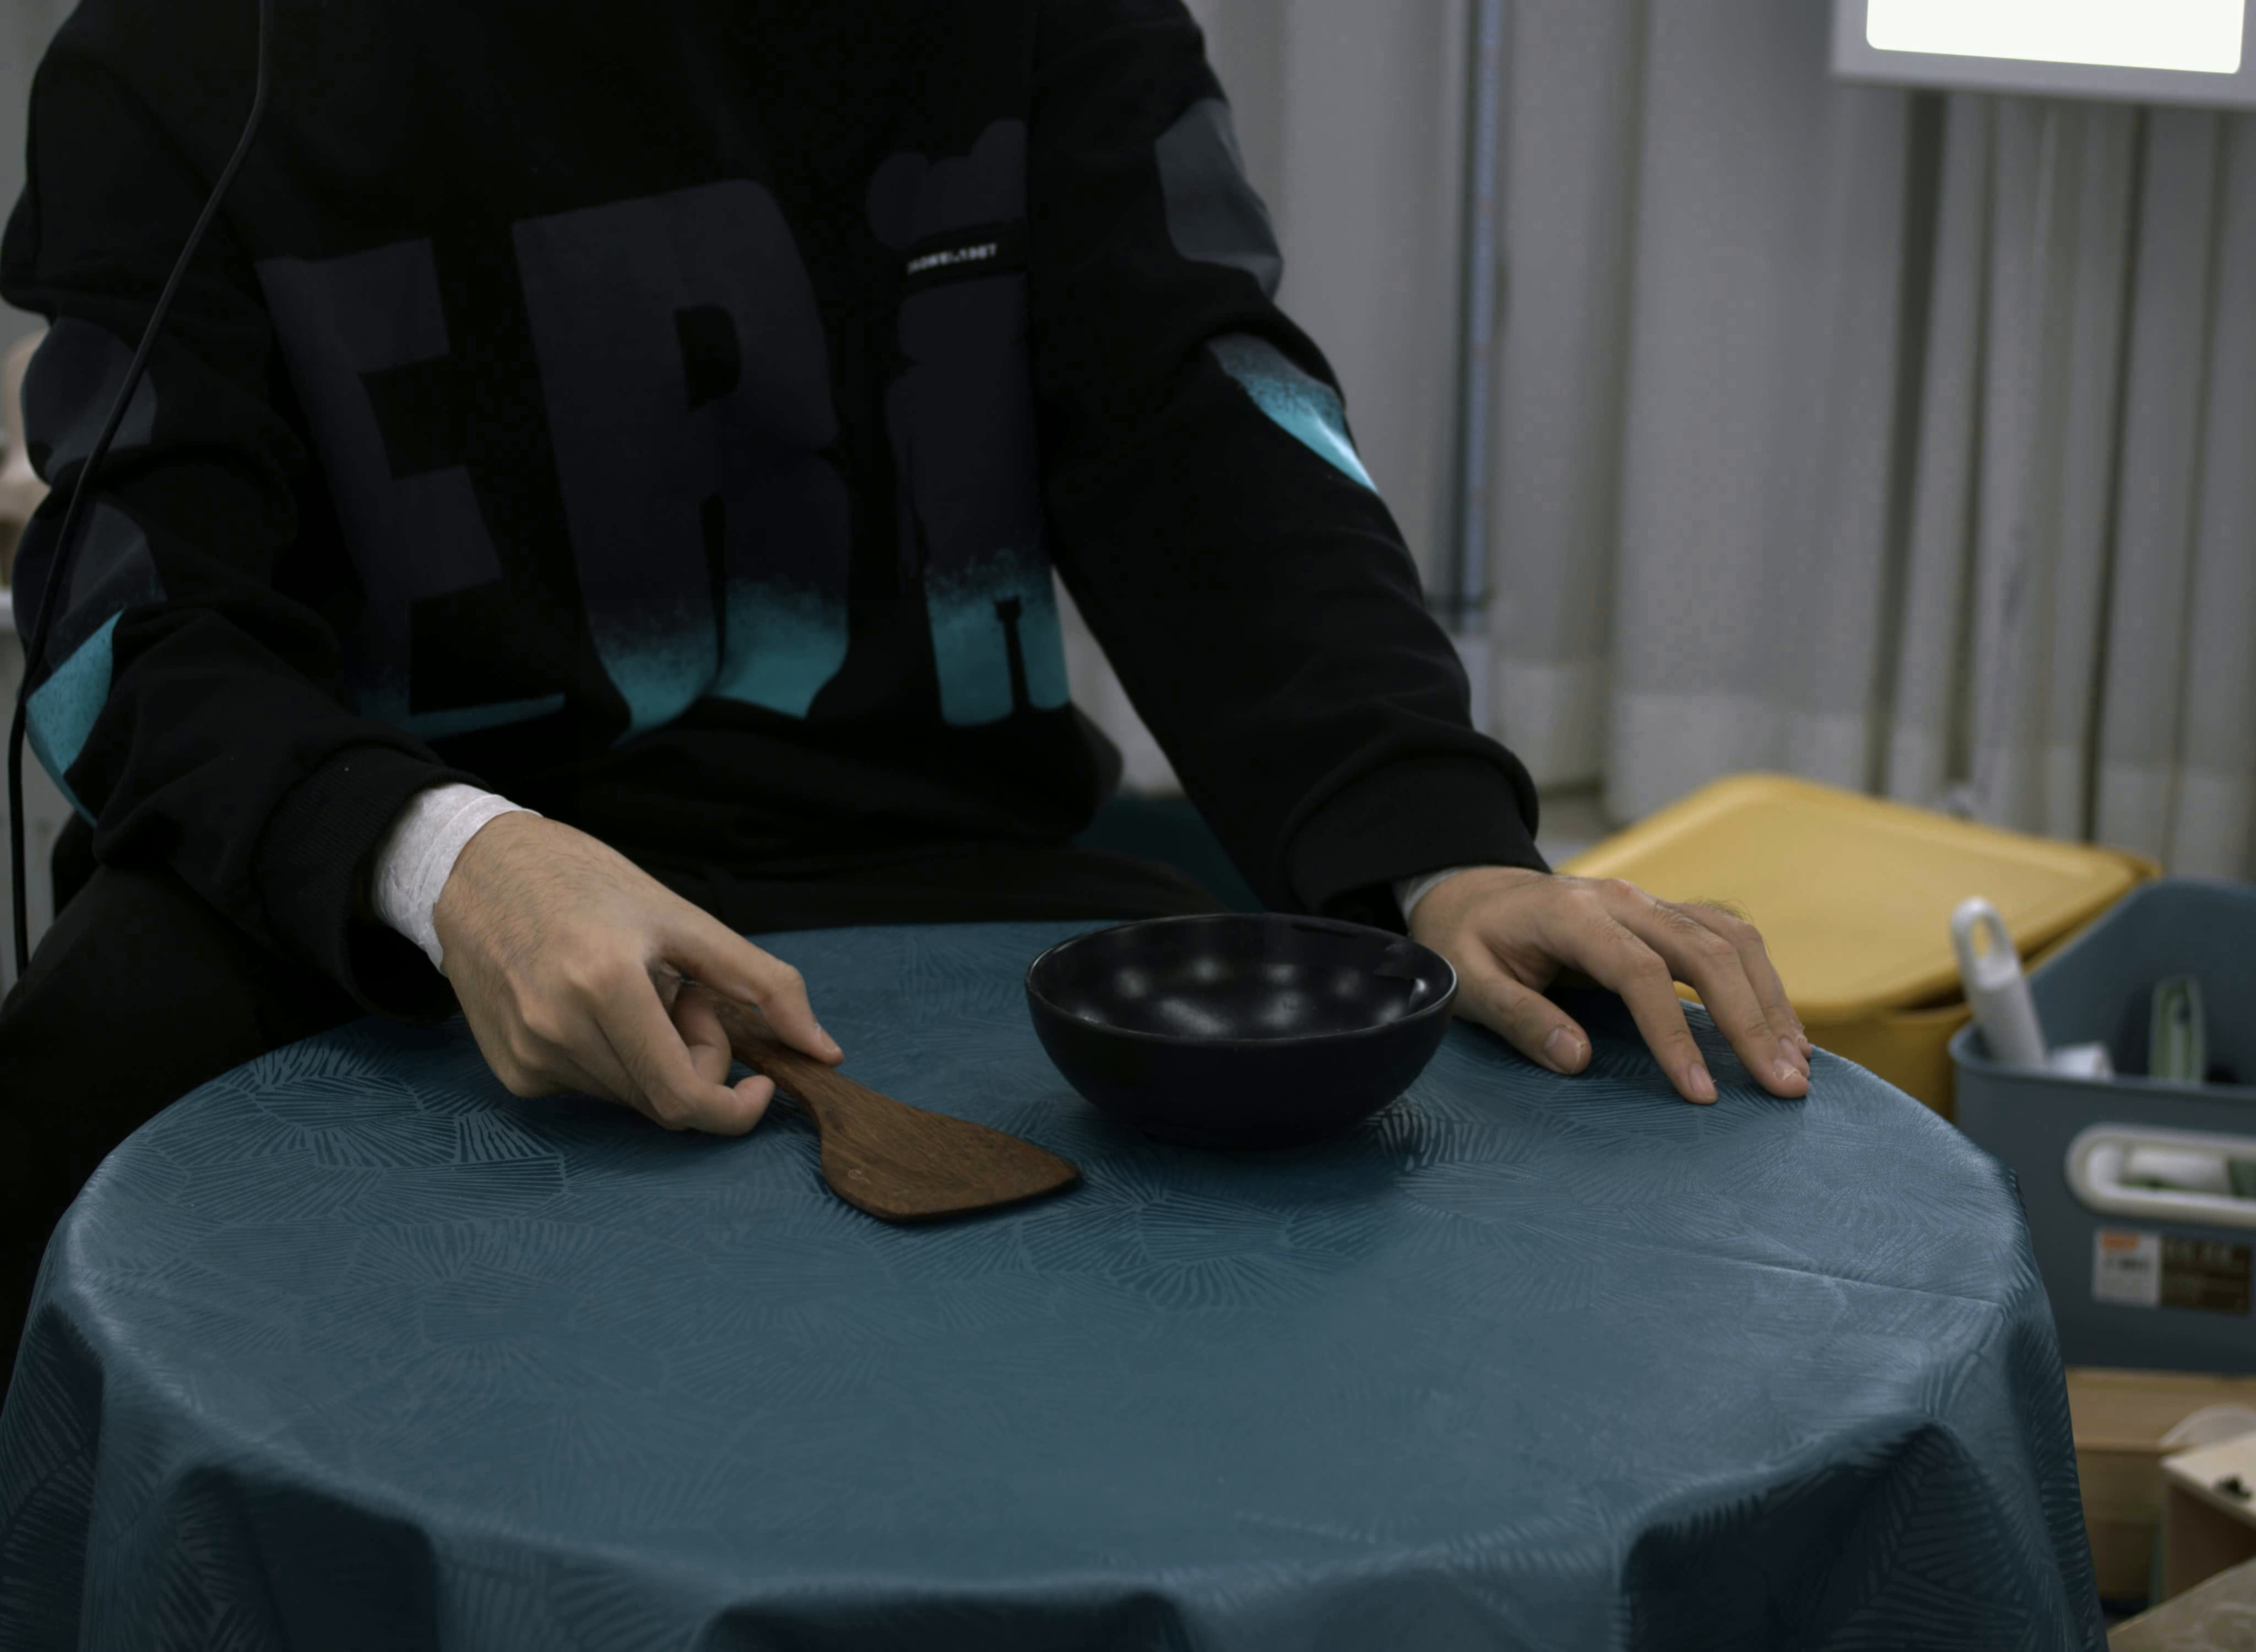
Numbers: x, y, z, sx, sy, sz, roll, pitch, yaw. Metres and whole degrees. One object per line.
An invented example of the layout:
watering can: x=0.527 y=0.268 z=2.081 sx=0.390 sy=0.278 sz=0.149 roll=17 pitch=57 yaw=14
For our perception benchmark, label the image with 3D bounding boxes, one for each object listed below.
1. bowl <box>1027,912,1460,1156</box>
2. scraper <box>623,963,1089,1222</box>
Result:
bowl: x=0.038 y=0.071 z=1.688 sx=0.139 sy=0.050 sz=0.139 roll=-2 pitch=16 yaw=1
scraper: x=-0.098 y=0.083 z=1.680 sx=0.076 sy=0.011 sz=0.208 roll=-10 pitch=26 yaw=-36
